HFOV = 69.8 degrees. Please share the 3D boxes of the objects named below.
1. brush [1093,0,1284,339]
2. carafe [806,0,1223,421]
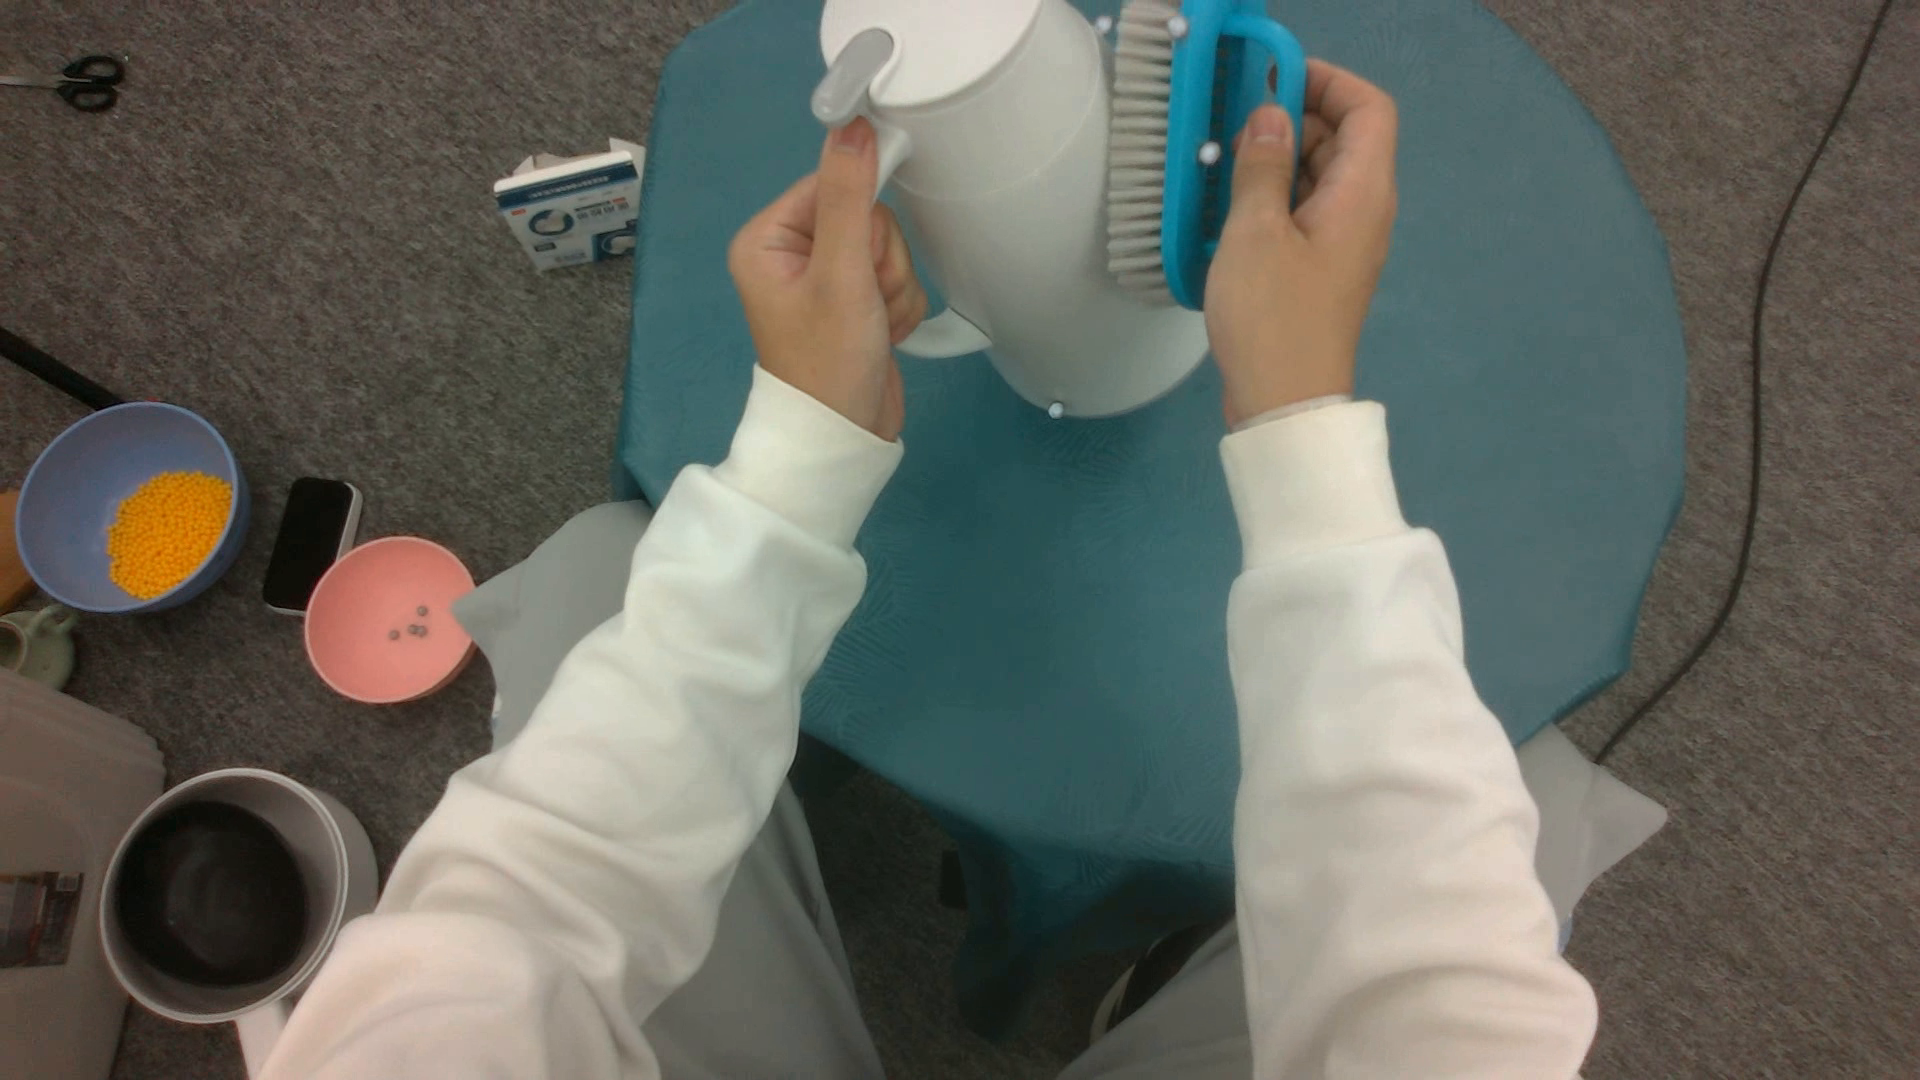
[{"bbox_3d":[0.102,-0.156,0.579,0.063,0.084,0.141,11,107,31],"label":"brush"},{"bbox_3d":[0.018,-0.148,0.634,0.132,0.248,0.168,36,89,30],"label":"carafe"}]
